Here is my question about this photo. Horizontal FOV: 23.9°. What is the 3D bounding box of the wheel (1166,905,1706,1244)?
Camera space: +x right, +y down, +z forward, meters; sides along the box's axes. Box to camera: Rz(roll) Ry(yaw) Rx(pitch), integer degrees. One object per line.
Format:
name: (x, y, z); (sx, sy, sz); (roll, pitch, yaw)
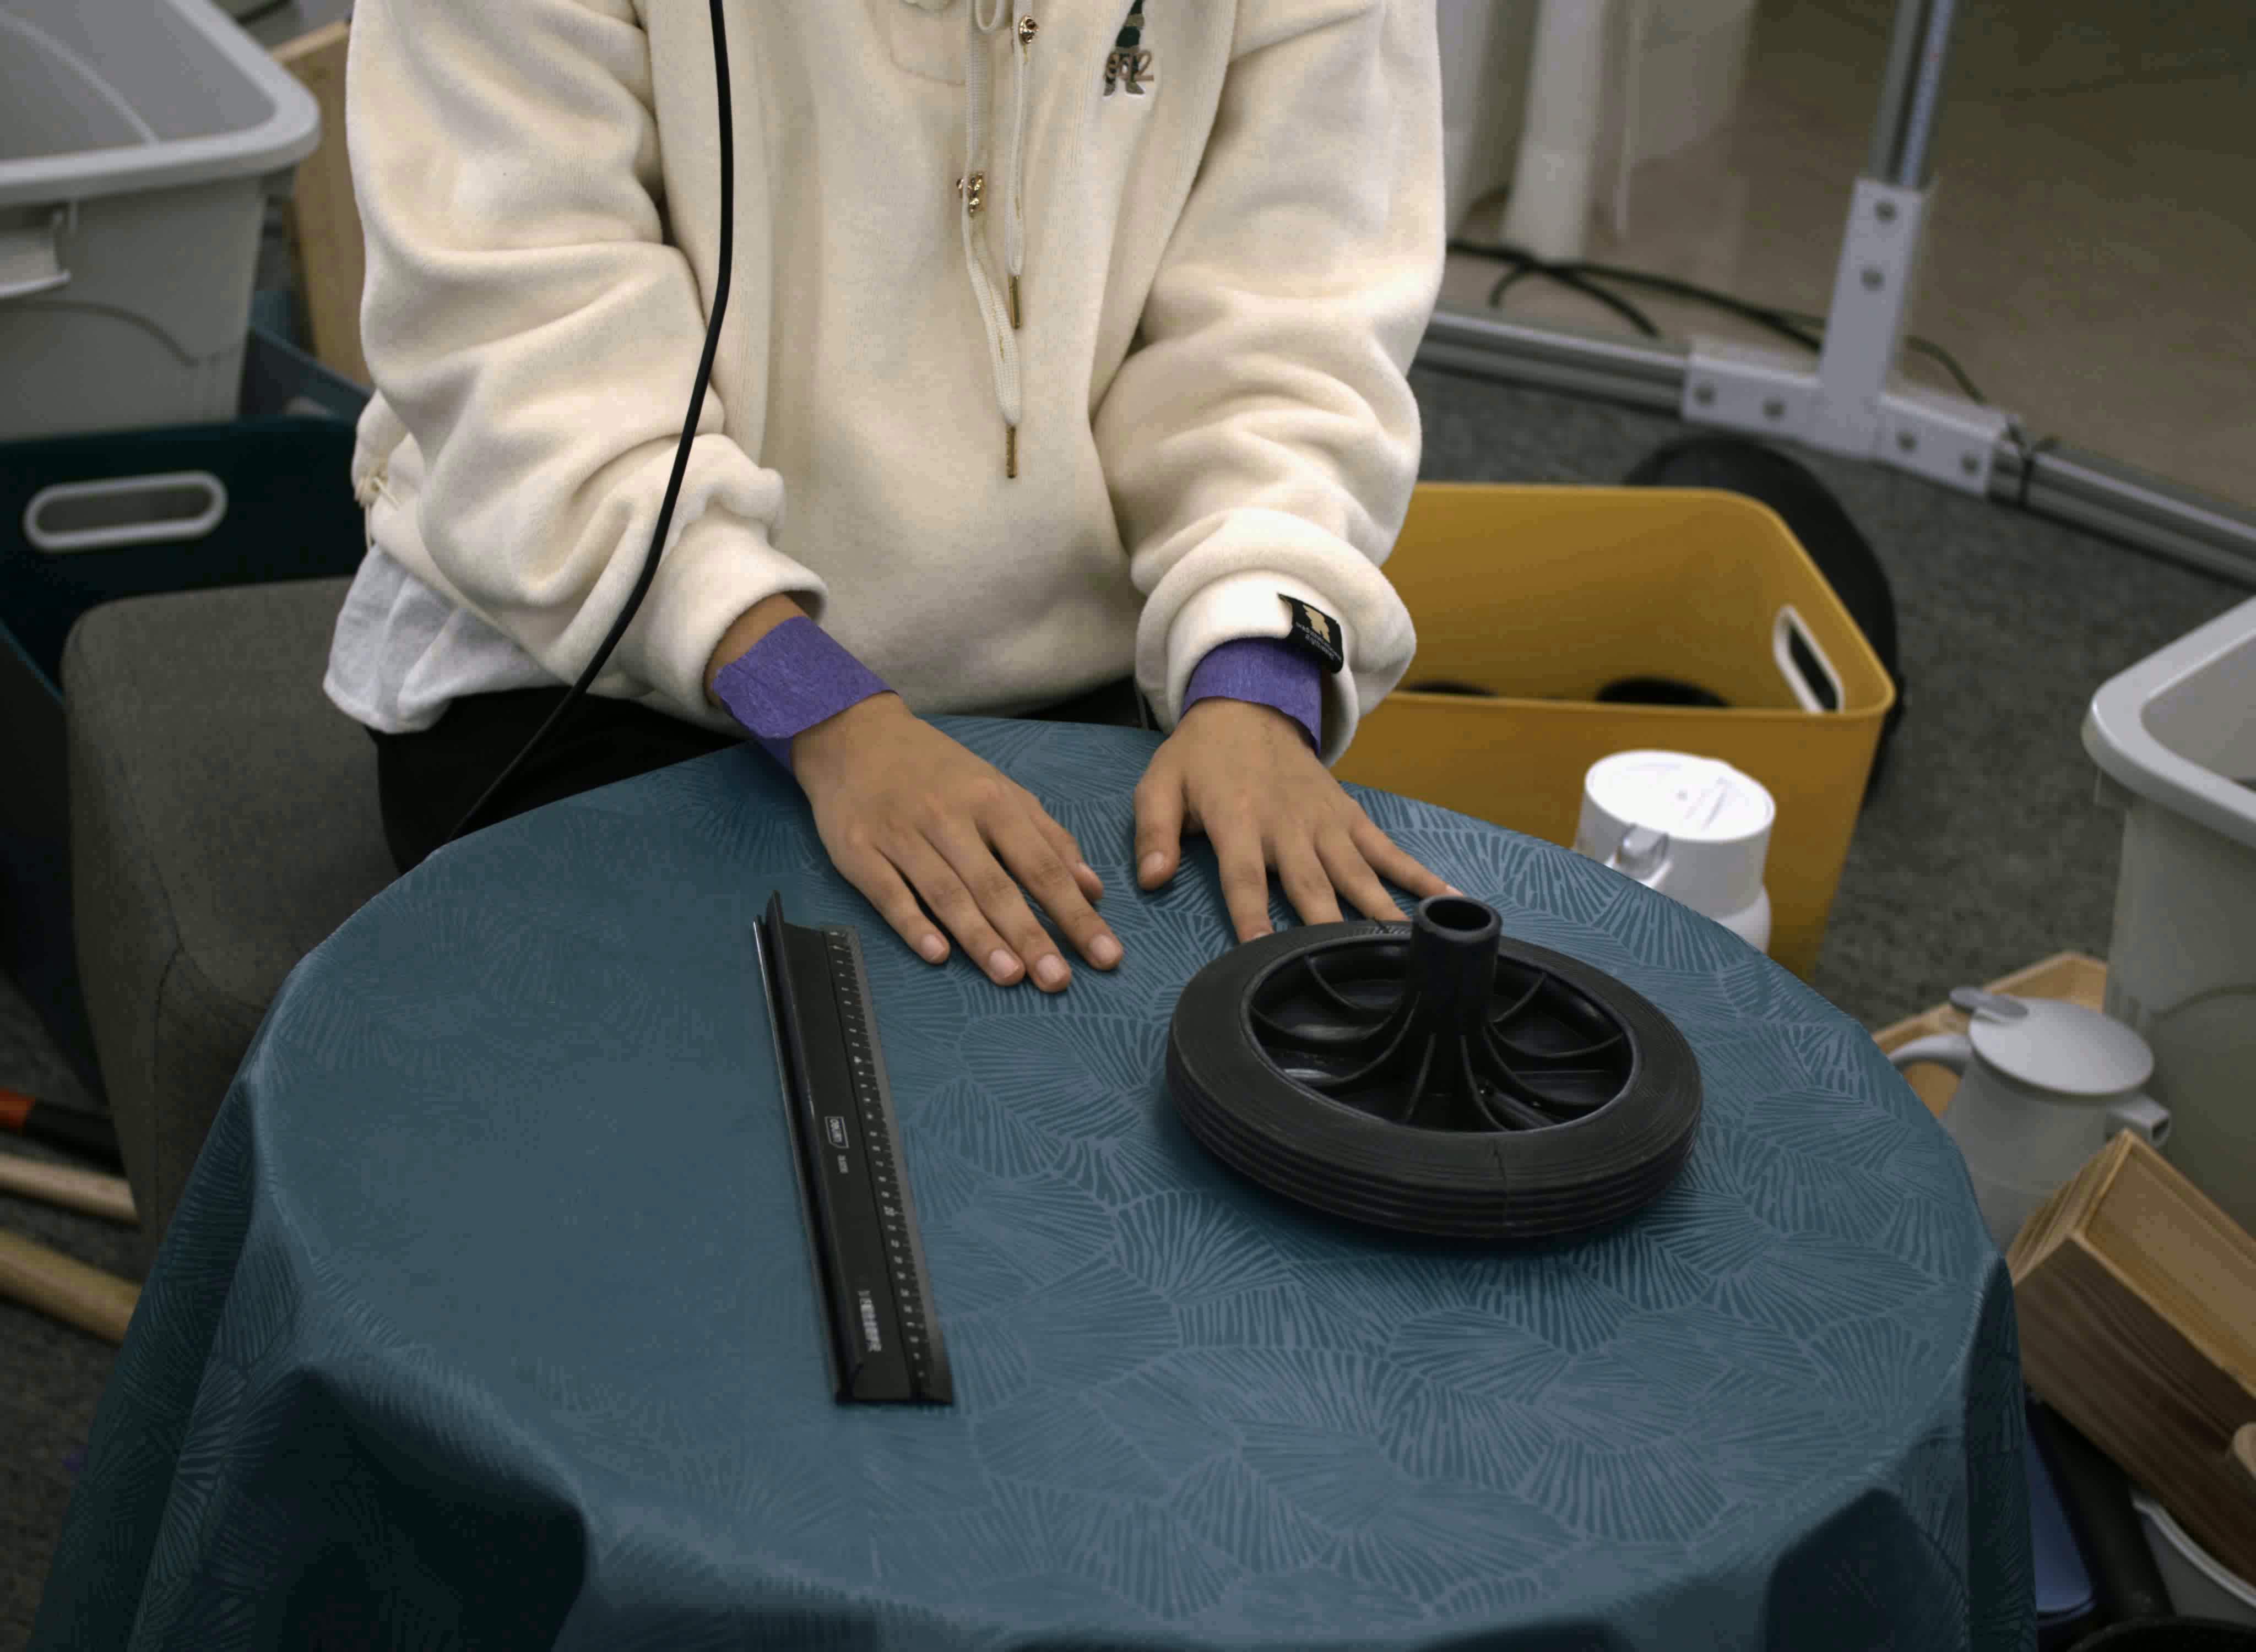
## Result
wheel: (0.110, 0.070, 1.848); (0.190, 0.079, 0.187); (17, 29, 19)

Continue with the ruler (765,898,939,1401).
ruler: (-0.094, 0.104, 1.803); (0.039, 0.017, 0.315); (5, 26, -10)
